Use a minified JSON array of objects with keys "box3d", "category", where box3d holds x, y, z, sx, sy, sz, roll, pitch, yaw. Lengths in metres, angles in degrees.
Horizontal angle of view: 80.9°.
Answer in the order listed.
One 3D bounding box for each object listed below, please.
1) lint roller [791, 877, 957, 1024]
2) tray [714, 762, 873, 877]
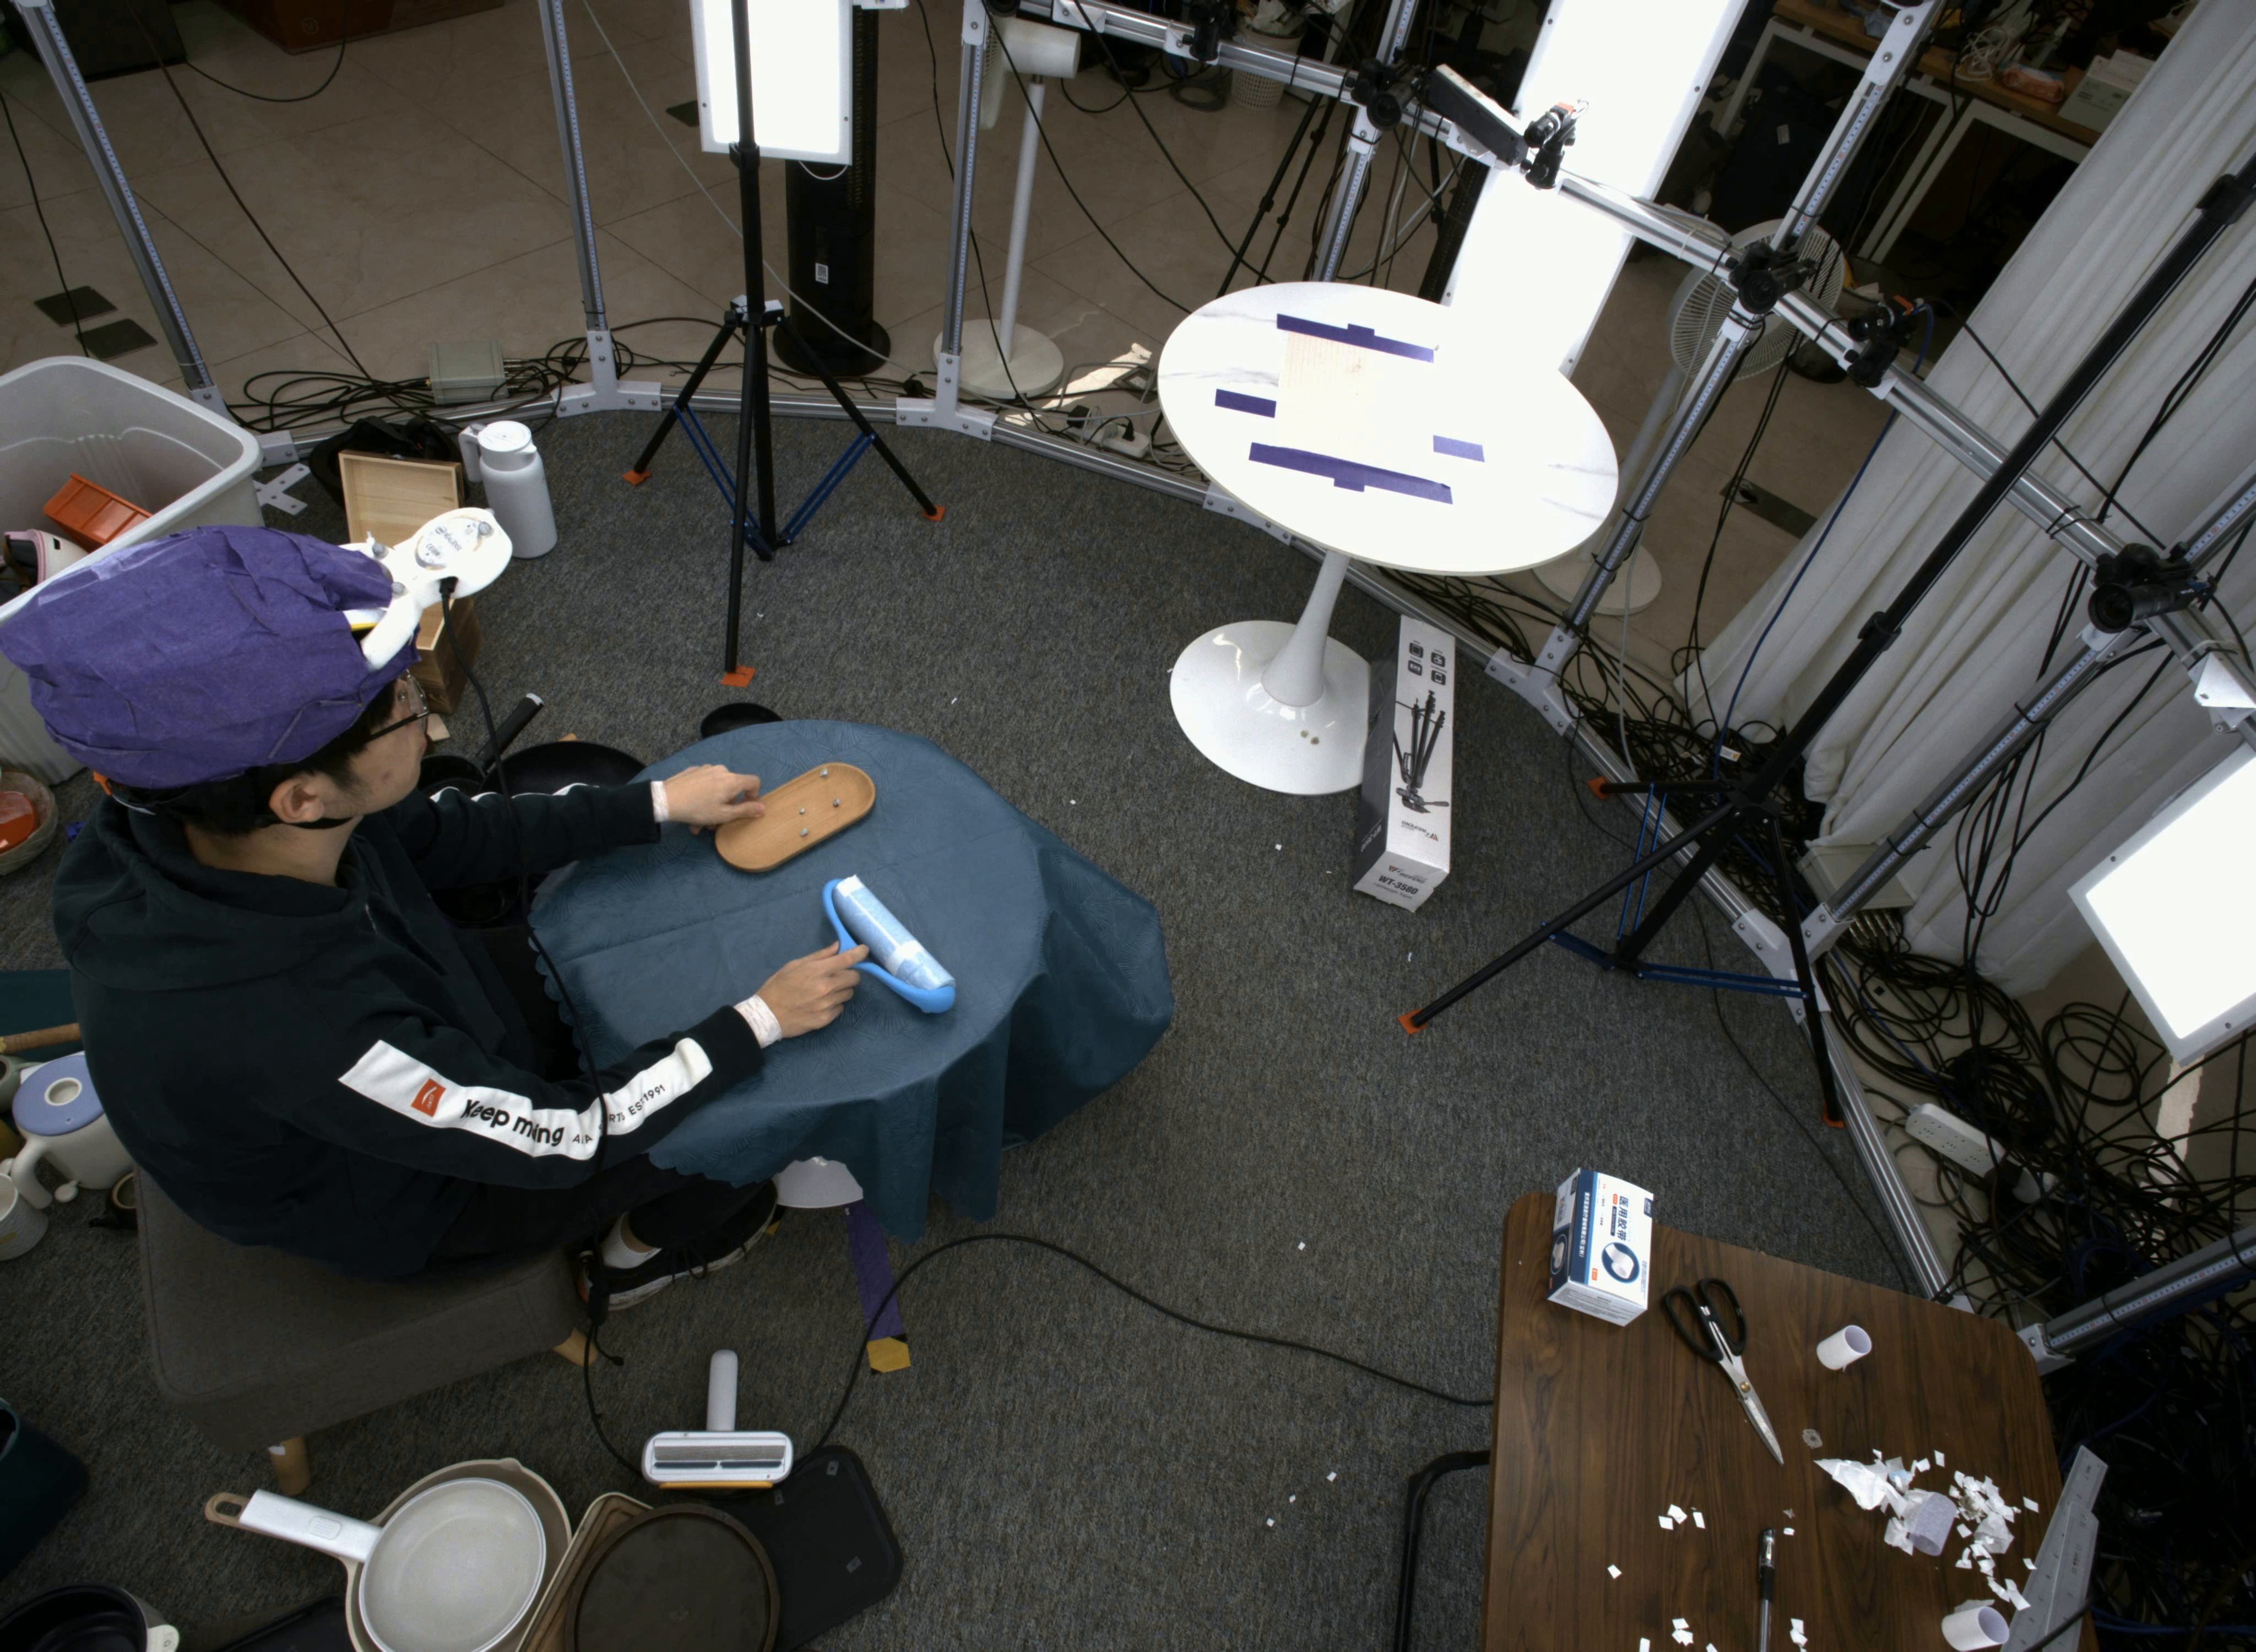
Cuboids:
[{"box3d":[-0.336,0.172,1.589,0.224,0.069,0.180,41,54,15],"category":"lint roller"},{"box3d":[-0.442,-0.011,1.721,0.231,0.020,0.100,-35,72,-31],"category":"tray"}]
